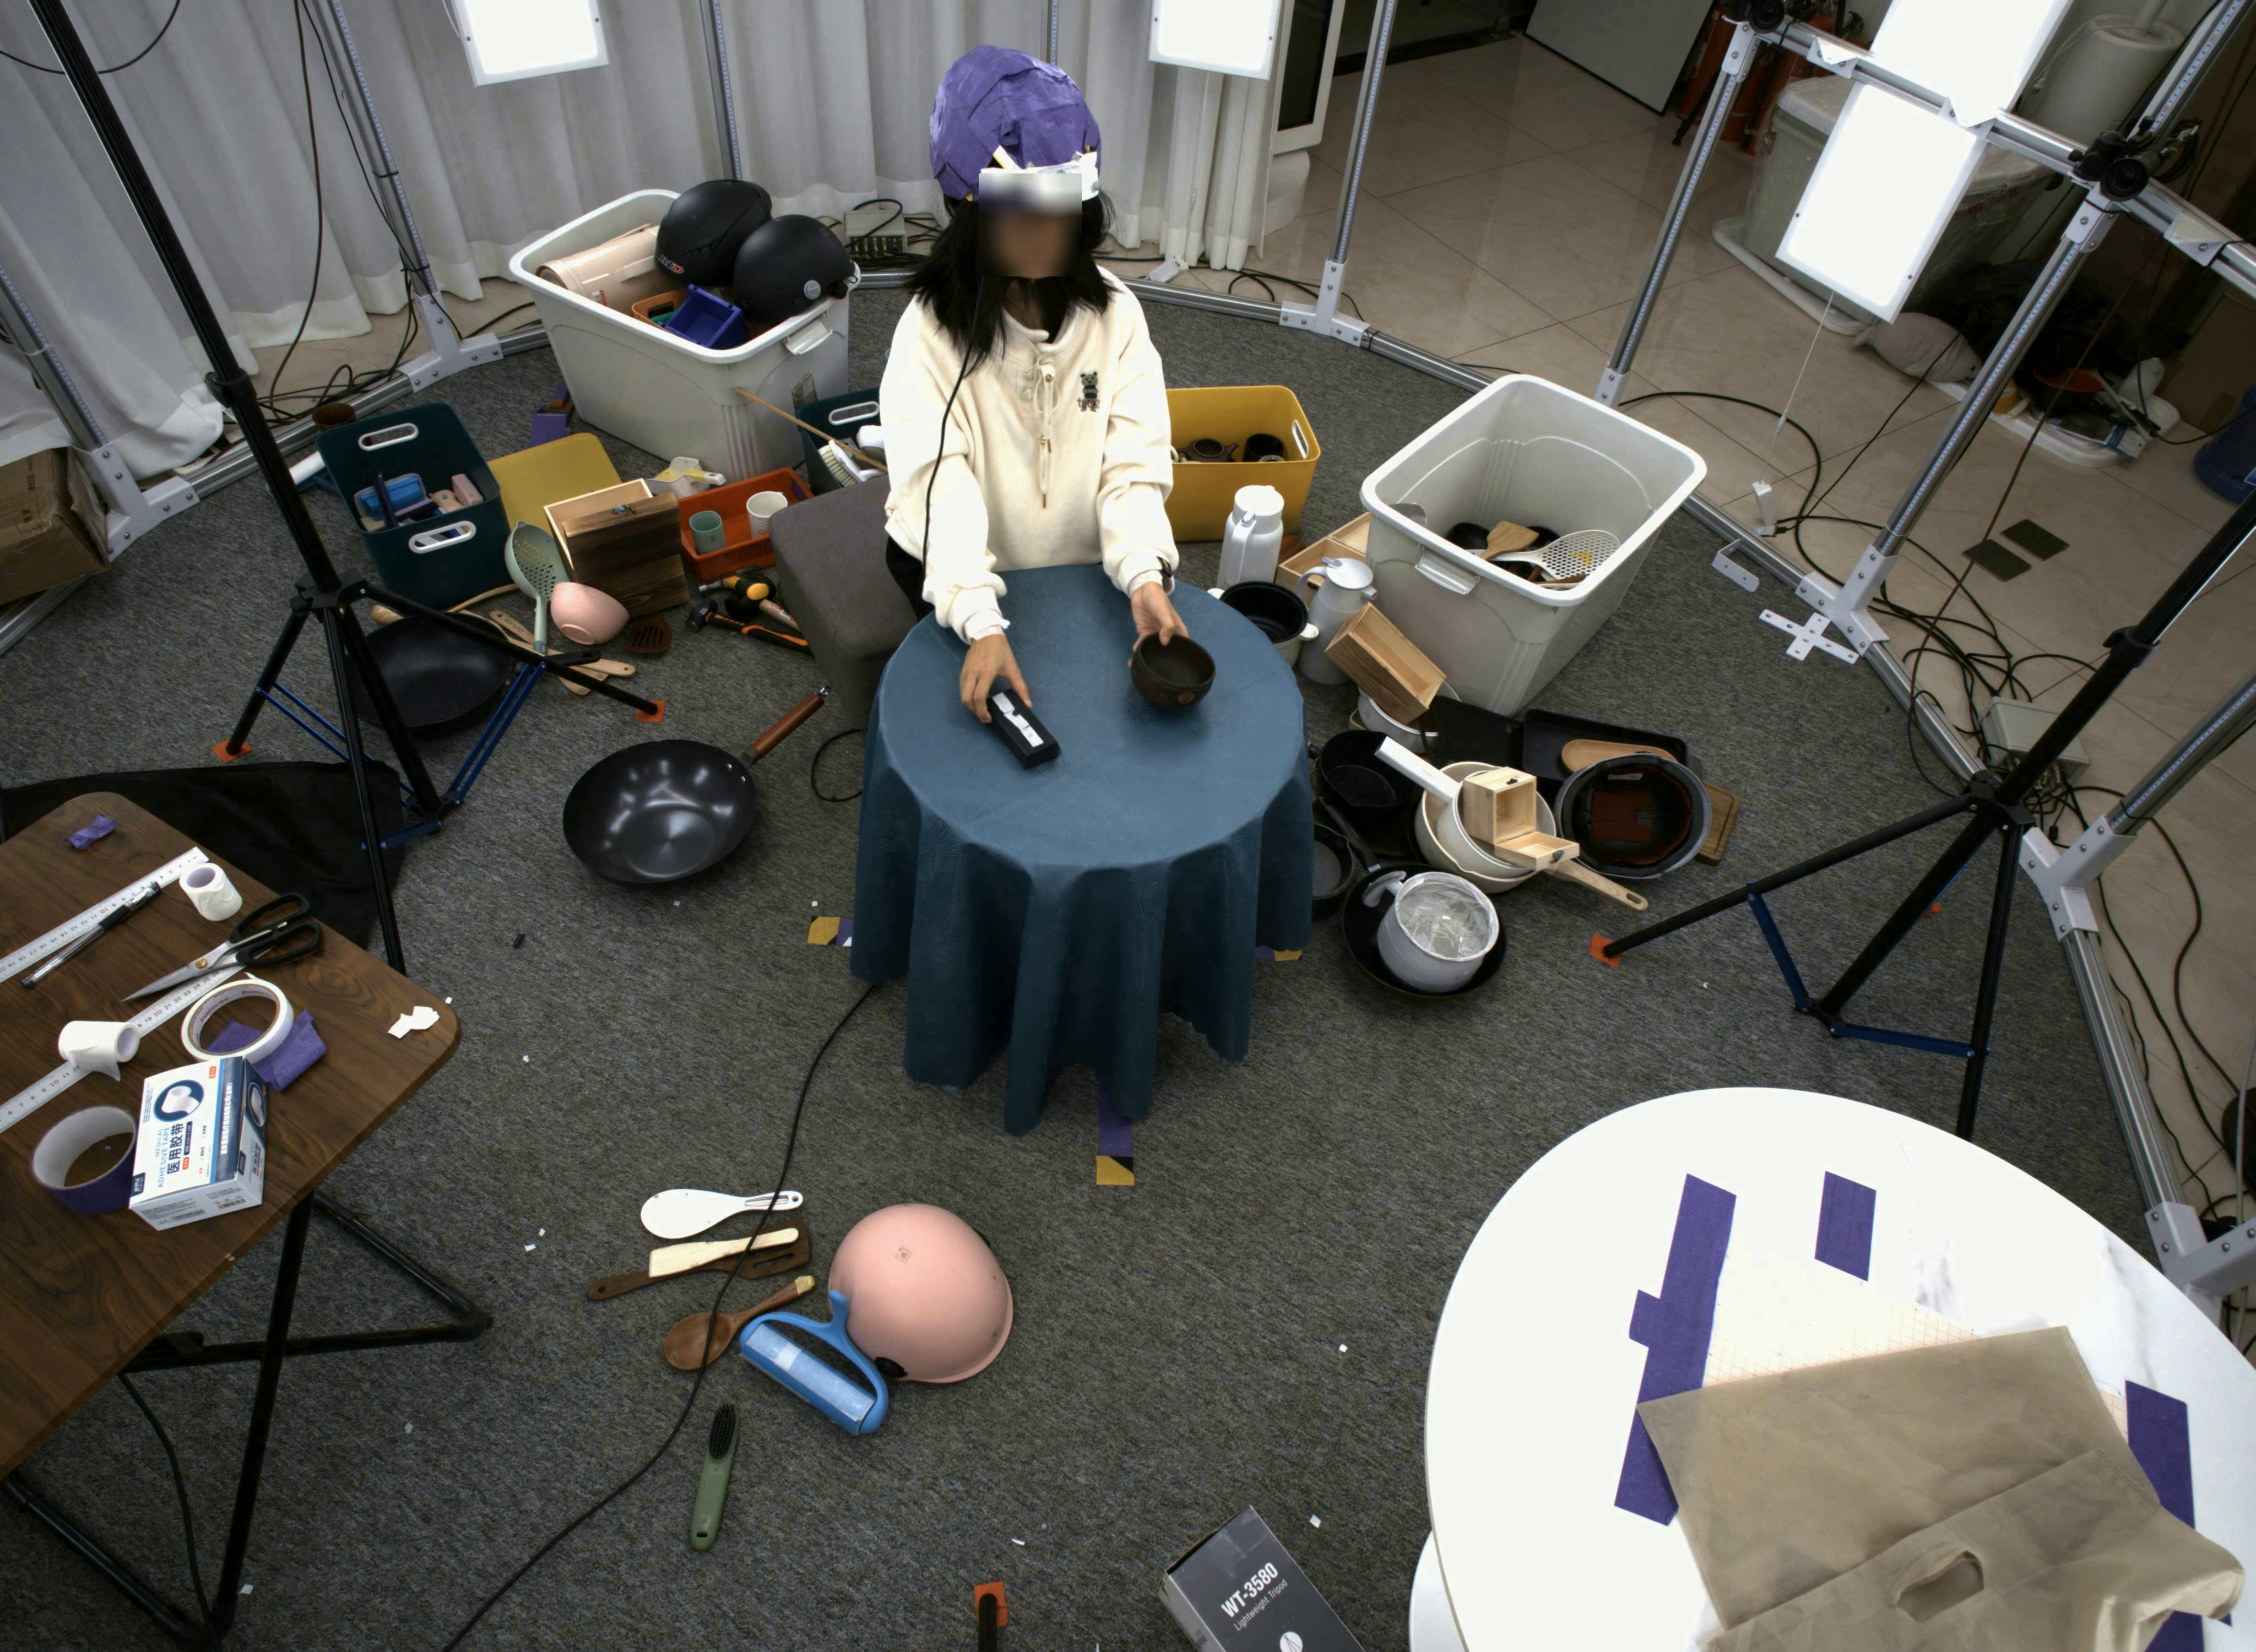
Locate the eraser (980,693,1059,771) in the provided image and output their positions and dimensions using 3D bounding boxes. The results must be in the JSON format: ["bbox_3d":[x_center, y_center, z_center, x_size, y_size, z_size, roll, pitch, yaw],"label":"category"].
[{"bbox_3d":[-0.148,-0.130,1.755,0.054,0.030,0.128,-26,54,-23],"label":"eraser"}]

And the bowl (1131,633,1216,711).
[{"bbox_3d":[0.059,-0.207,1.798,0.117,0.068,0.121,10,44,-10],"label":"bowl"}]
